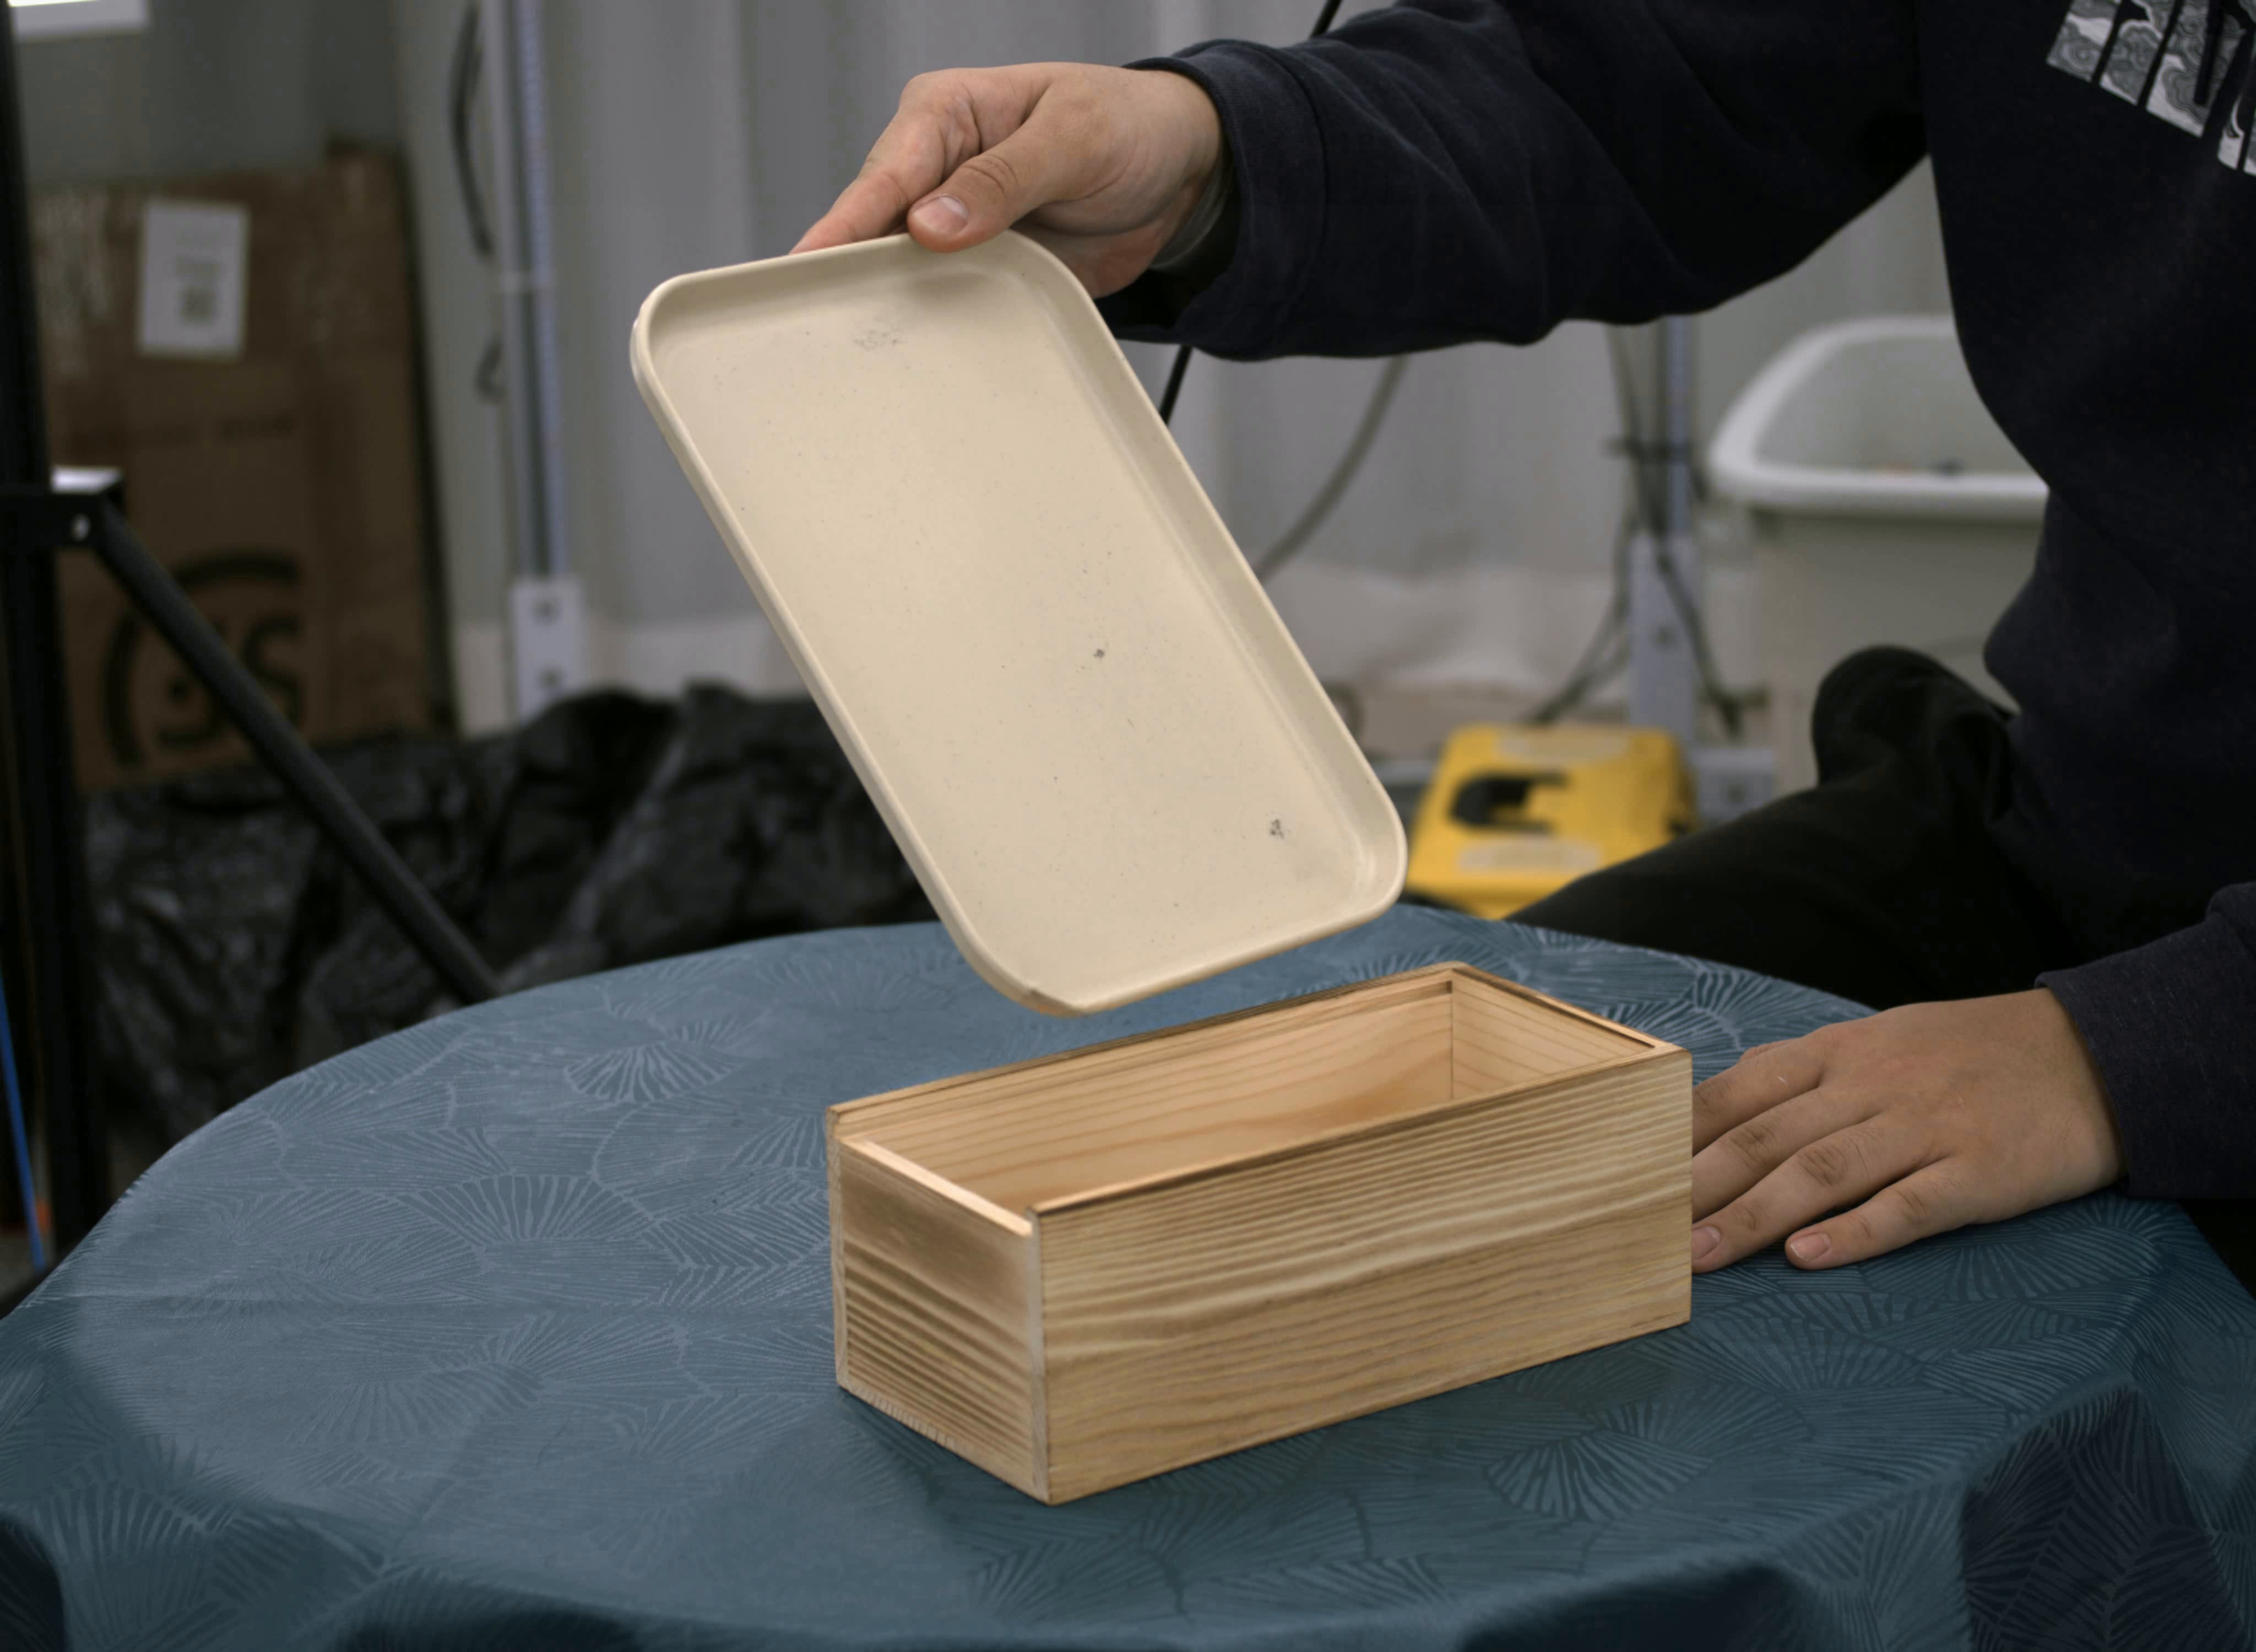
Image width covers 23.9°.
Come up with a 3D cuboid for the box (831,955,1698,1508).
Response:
[{"bbox_3d":[0.038,0.104,1.418,0.206,0.080,0.110,-12,19,-31],"label":"box"}]

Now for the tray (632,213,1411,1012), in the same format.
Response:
[{"bbox_3d":[-0.030,-0.061,1.472,0.167,0.243,0.017,-15,-22,-43],"label":"tray"}]
